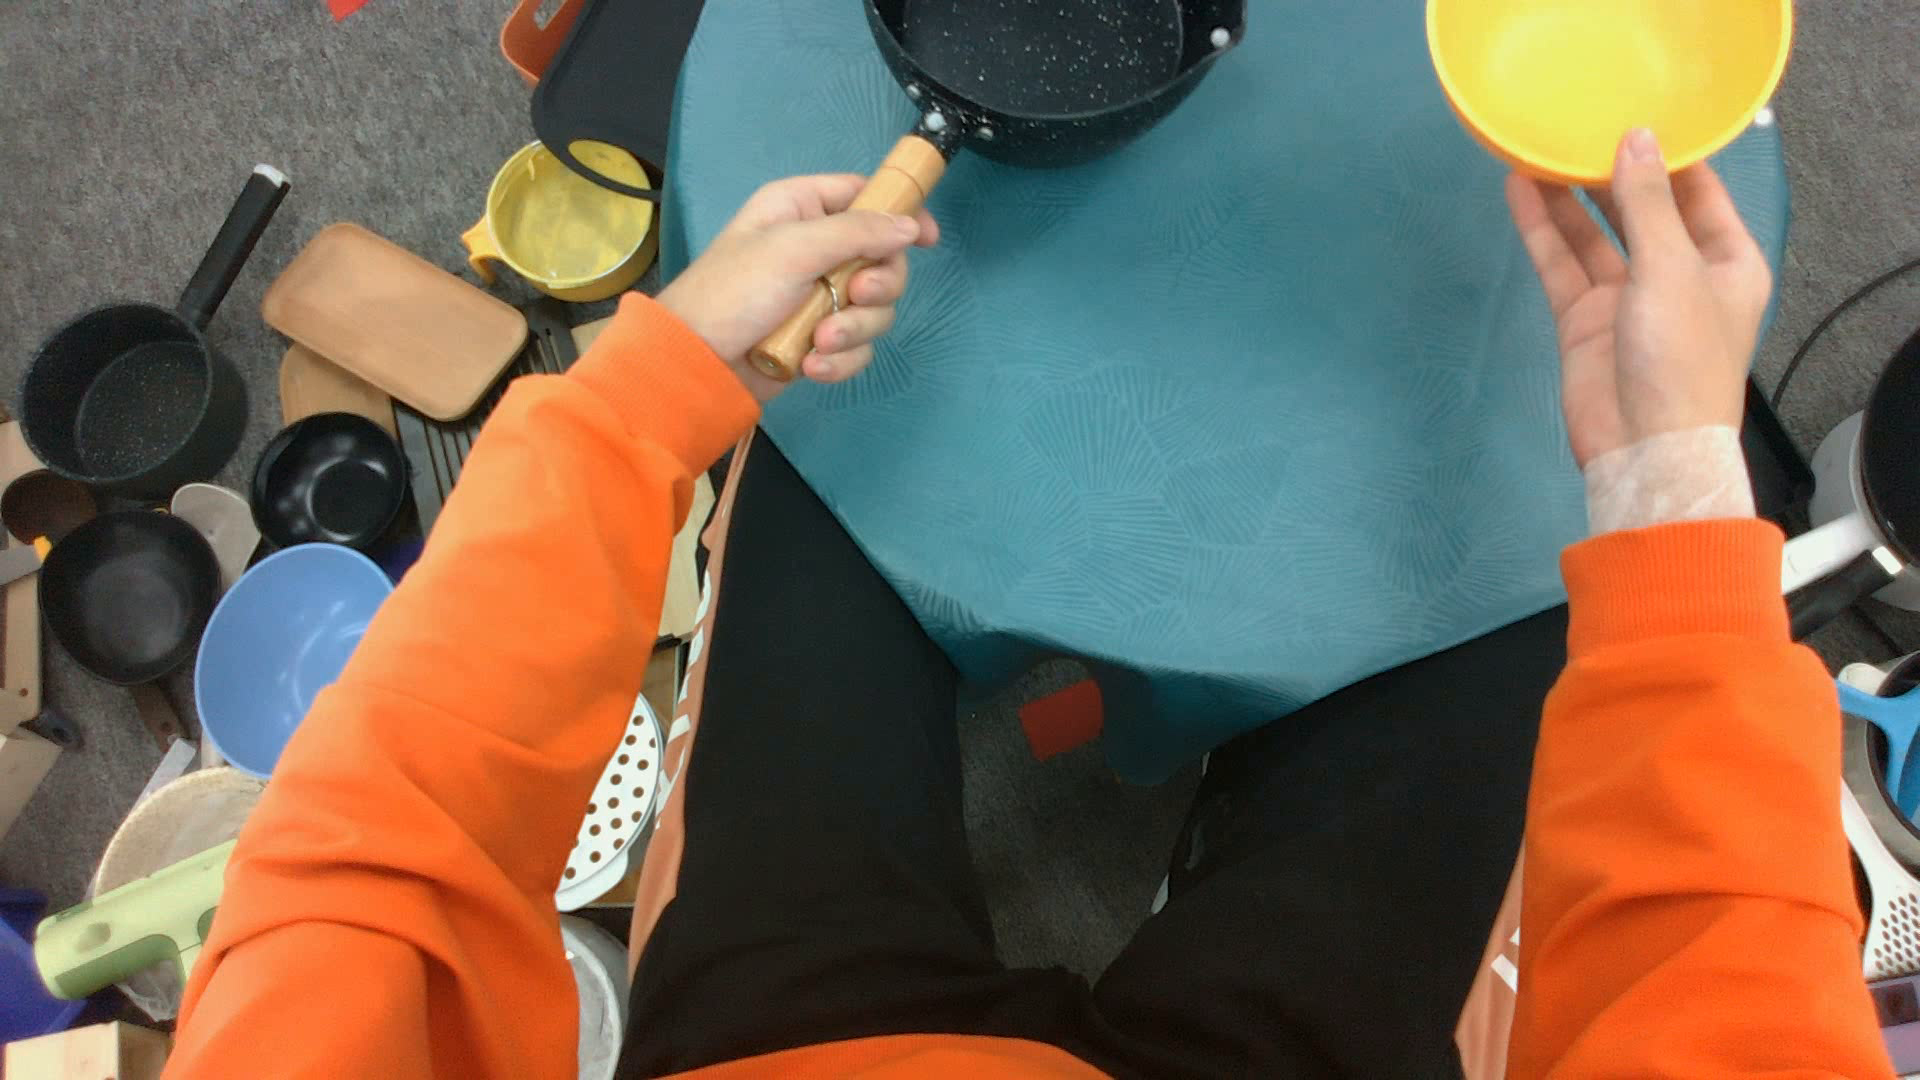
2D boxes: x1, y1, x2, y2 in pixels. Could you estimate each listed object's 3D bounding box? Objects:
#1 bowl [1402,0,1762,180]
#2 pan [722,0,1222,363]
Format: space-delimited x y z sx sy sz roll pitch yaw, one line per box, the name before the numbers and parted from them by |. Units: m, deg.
bowl | 0.268 -0.218 0.614 0.145 0.060 0.145 -2 78 9
pan | -0.006 -0.214 0.658 0.207 0.108 0.343 29 78 4
